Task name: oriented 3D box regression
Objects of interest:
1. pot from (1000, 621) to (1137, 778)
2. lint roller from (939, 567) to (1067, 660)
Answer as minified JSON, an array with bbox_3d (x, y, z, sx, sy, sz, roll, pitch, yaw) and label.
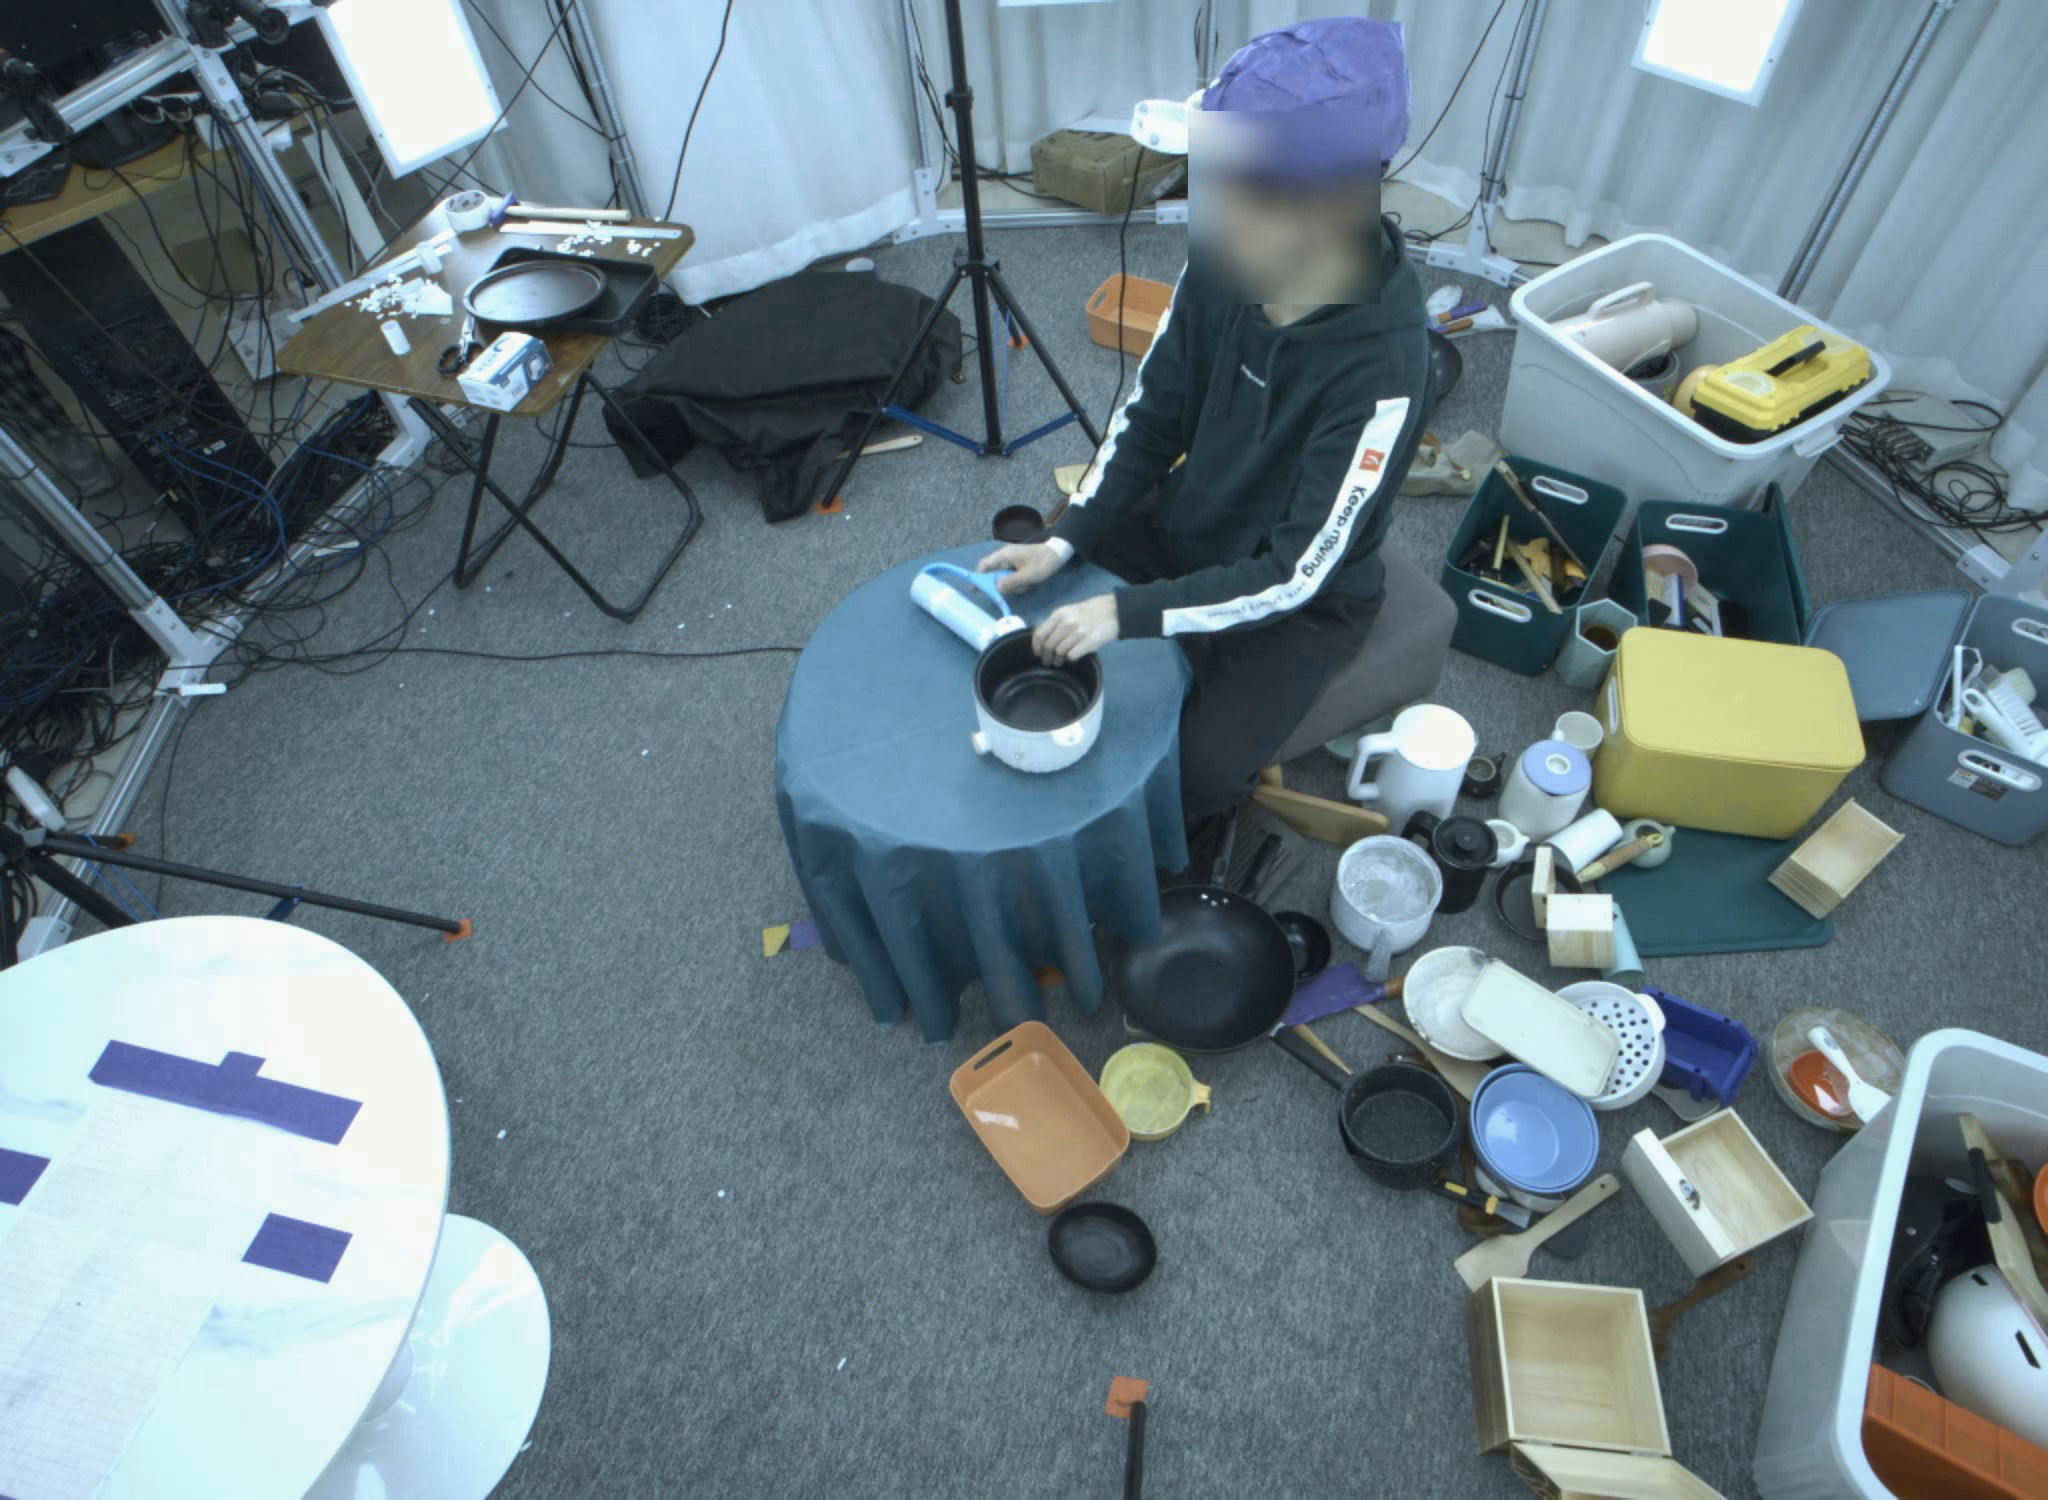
[{"bbox_3d":[0.058,-0.054,1.731,0.192,0.144,0.236,-19,57,-14],"label":"pot"},{"bbox_3d":[-0.009,-0.238,1.905,0.181,0.069,0.224,-39,54,-20],"label":"lint roller"}]
